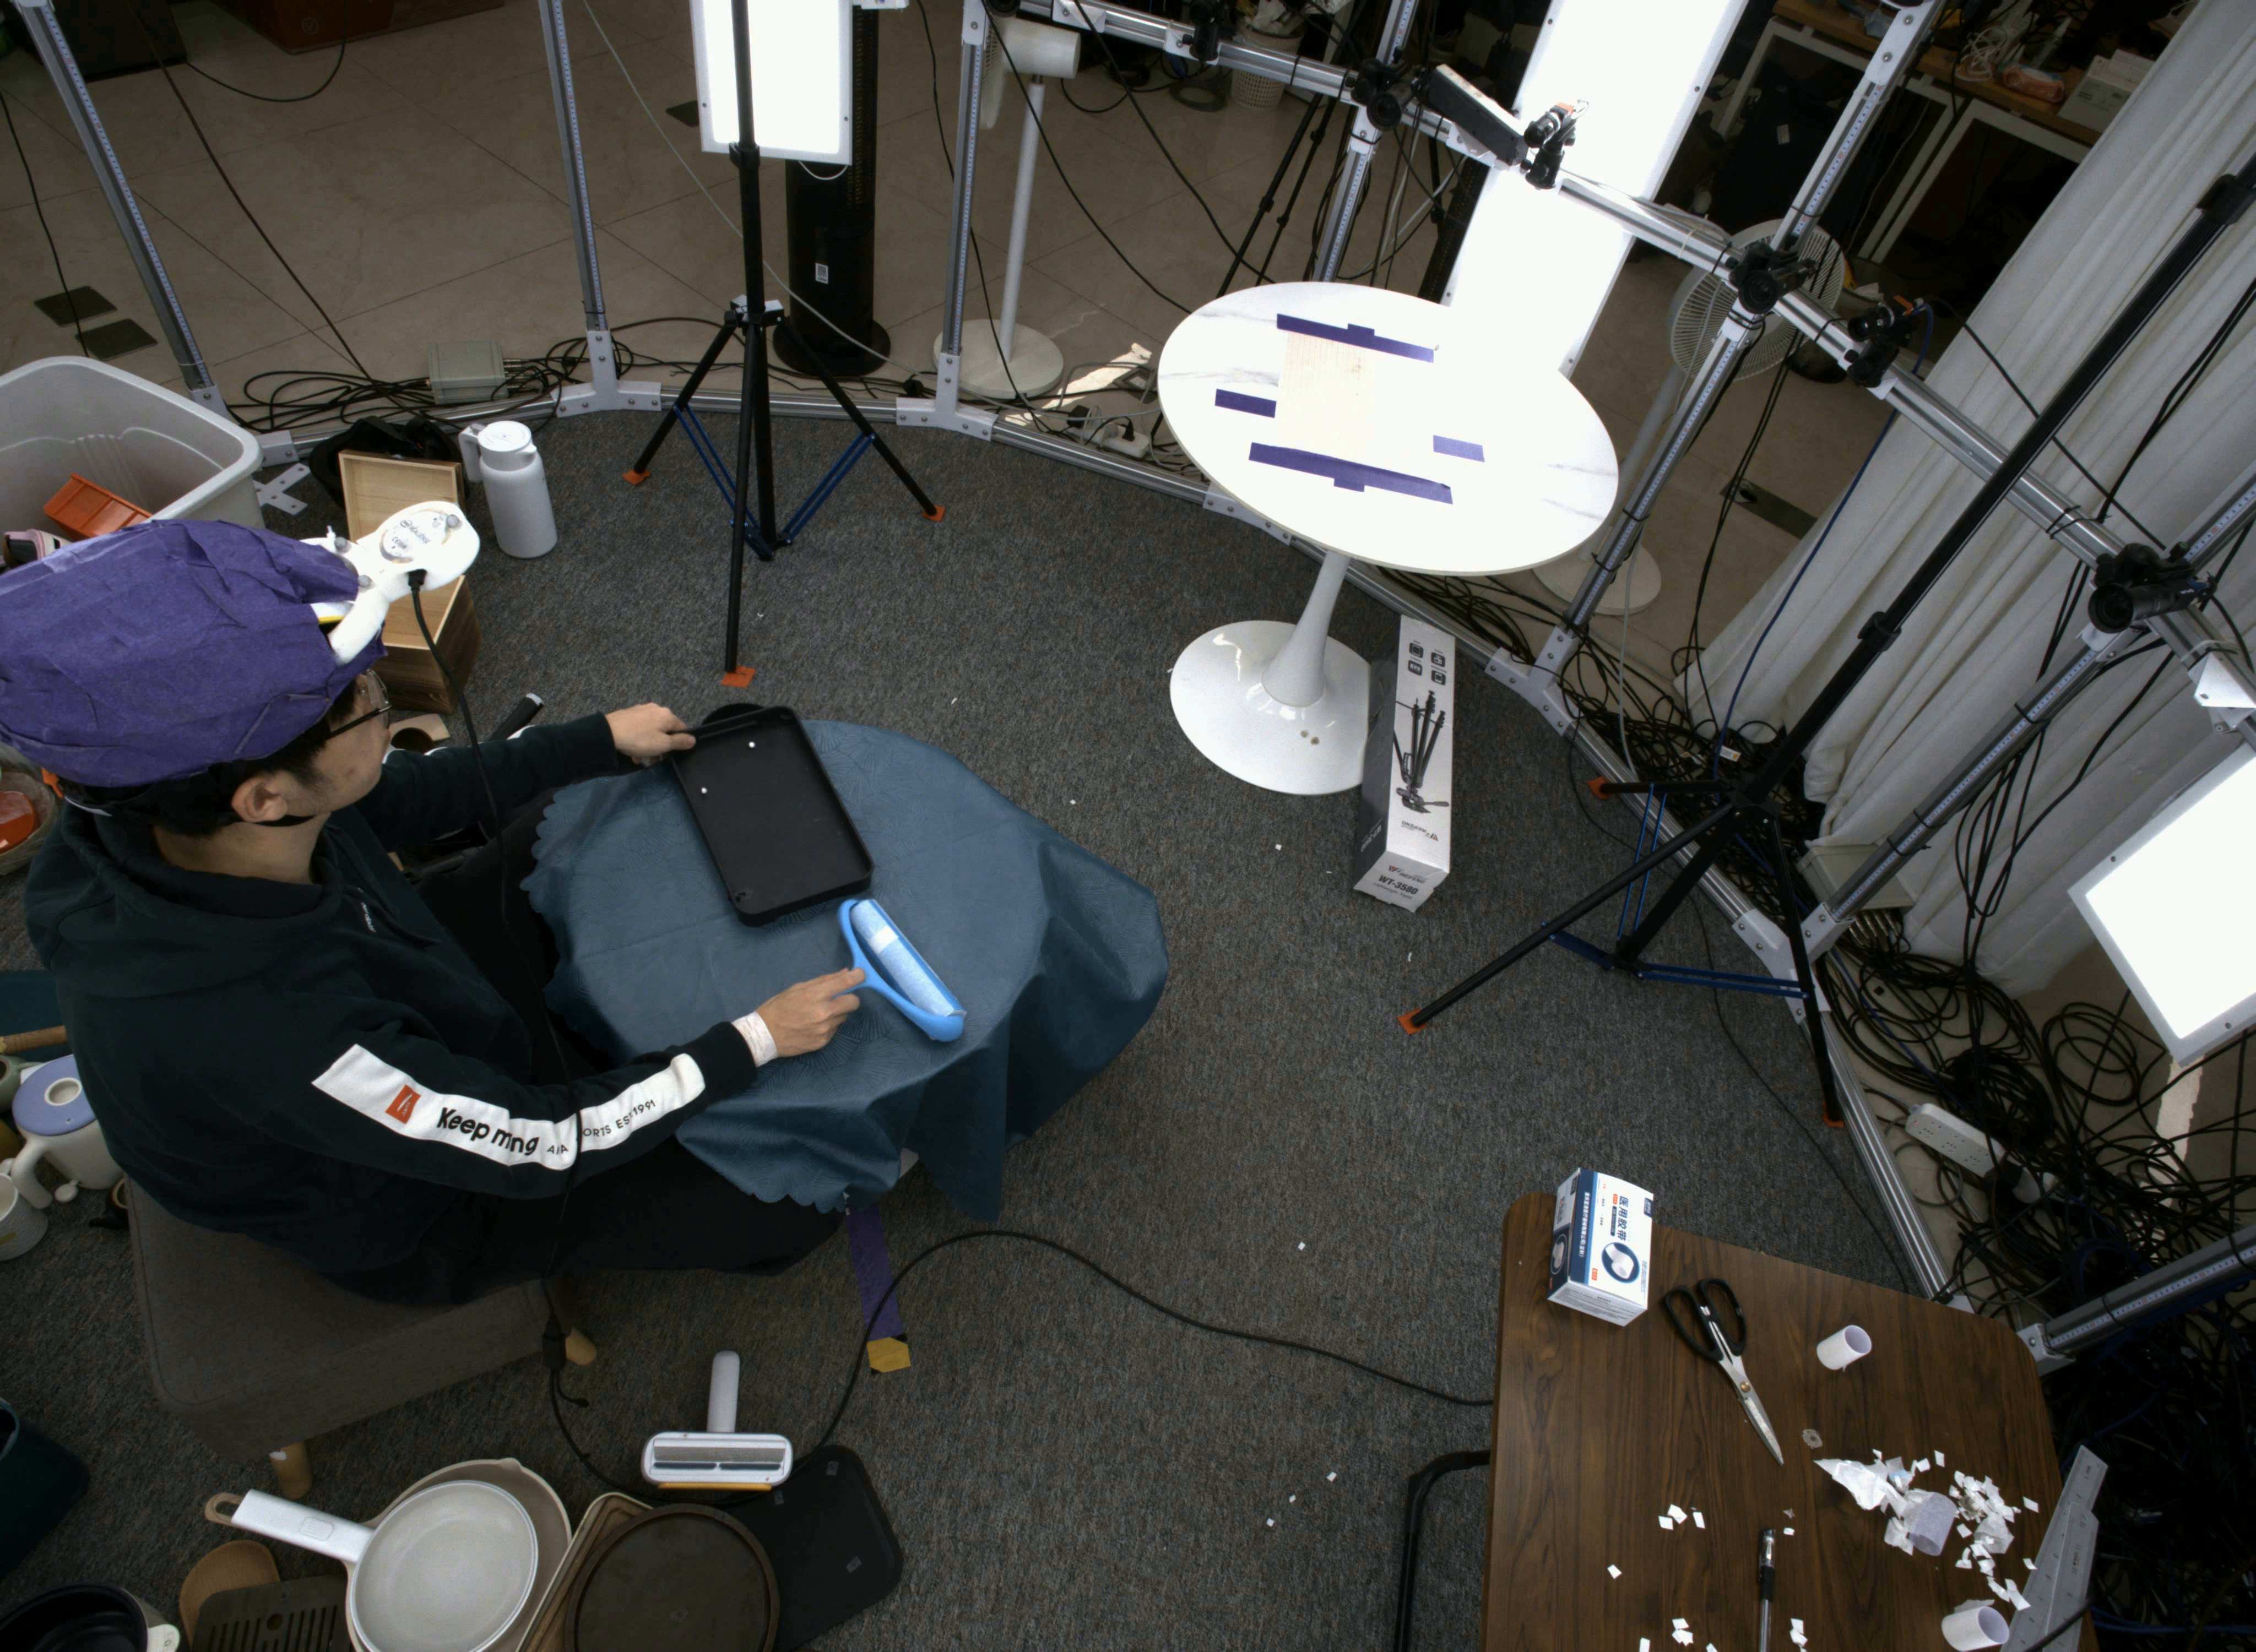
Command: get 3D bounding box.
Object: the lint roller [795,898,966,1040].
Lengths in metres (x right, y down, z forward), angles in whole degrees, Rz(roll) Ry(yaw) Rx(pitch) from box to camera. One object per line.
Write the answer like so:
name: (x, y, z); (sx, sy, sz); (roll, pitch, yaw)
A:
lint roller: (-0.319, 0.194, 1.569); (0.181, 0.069, 0.224); (-29, 68, -39)

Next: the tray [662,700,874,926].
tray: (-0.479, -0.024, 1.711); (0.185, 0.038, 0.310); (-21, 63, -27)
